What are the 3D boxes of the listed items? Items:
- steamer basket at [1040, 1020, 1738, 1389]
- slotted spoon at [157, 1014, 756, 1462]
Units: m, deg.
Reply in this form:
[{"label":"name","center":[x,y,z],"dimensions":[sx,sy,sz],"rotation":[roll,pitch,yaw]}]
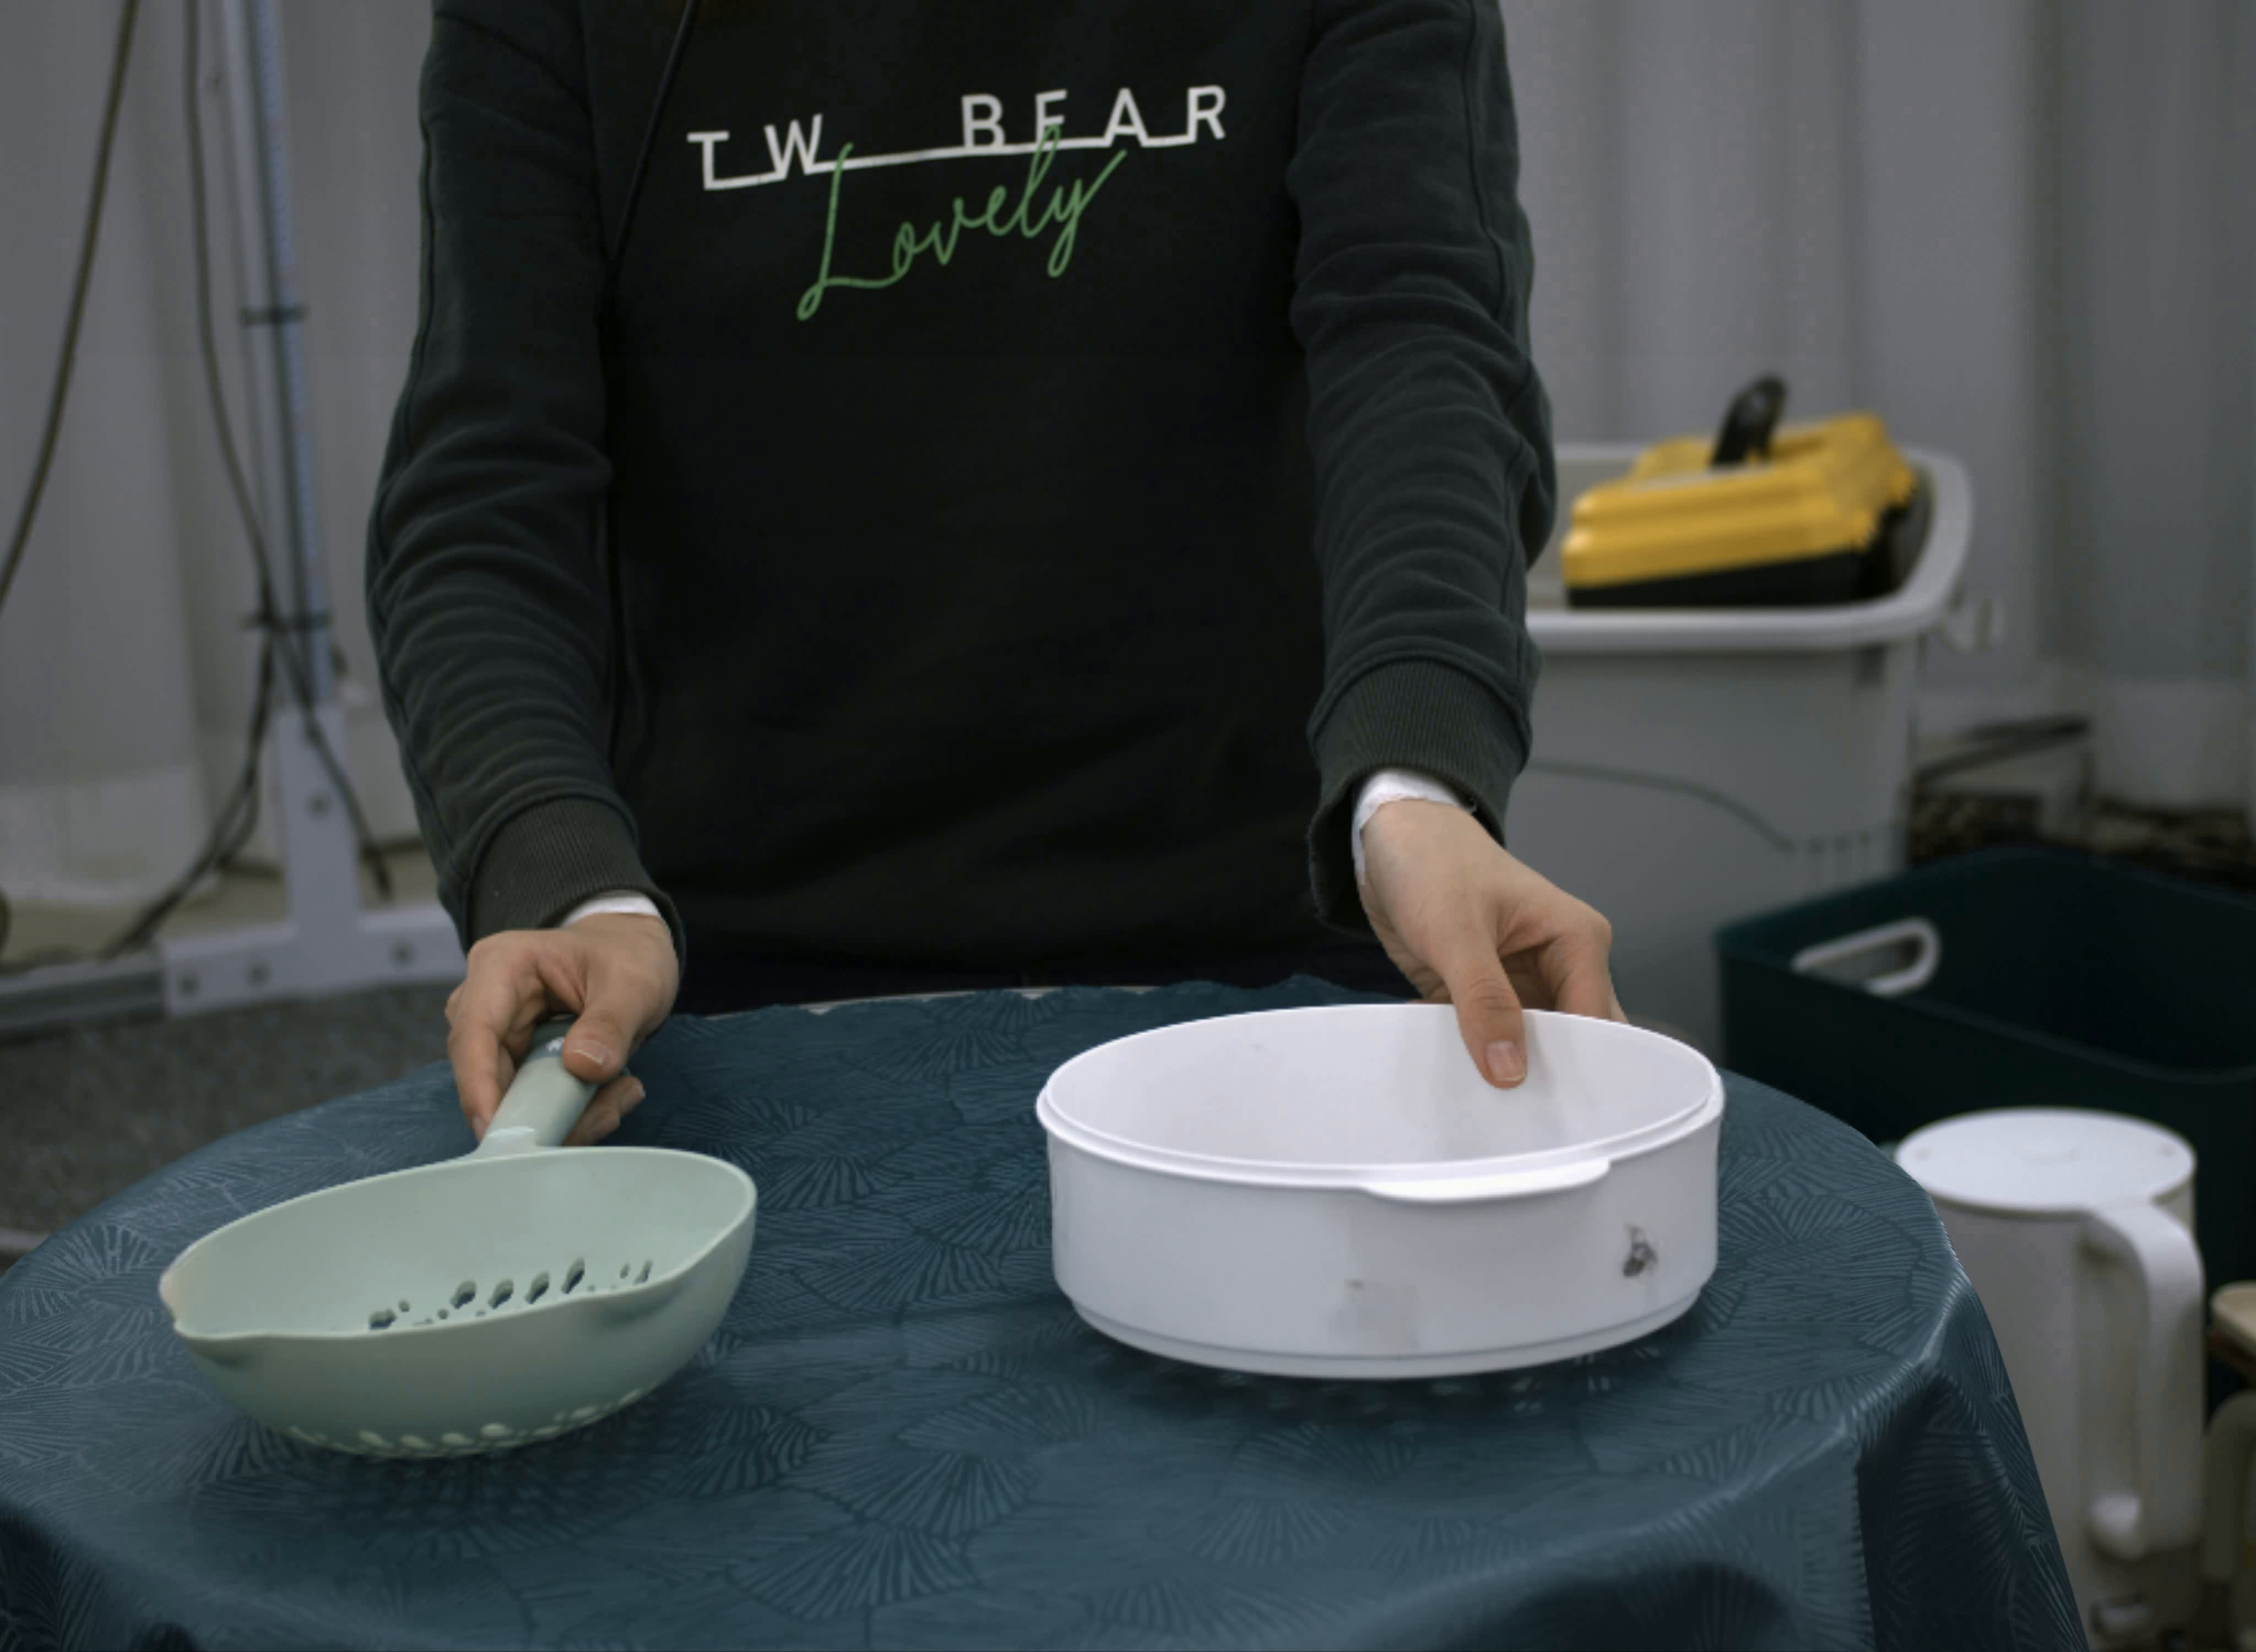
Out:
[{"label":"steamer basket","center":[0.075,0.109,1.582],"dimensions":[0.201,0.069,0.232],"rotation":[-4,11,-16]},{"label":"slotted spoon","center":[-0.182,0.106,1.626],"dimensions":[0.169,0.075,0.362],"rotation":[-6,20,3]}]
